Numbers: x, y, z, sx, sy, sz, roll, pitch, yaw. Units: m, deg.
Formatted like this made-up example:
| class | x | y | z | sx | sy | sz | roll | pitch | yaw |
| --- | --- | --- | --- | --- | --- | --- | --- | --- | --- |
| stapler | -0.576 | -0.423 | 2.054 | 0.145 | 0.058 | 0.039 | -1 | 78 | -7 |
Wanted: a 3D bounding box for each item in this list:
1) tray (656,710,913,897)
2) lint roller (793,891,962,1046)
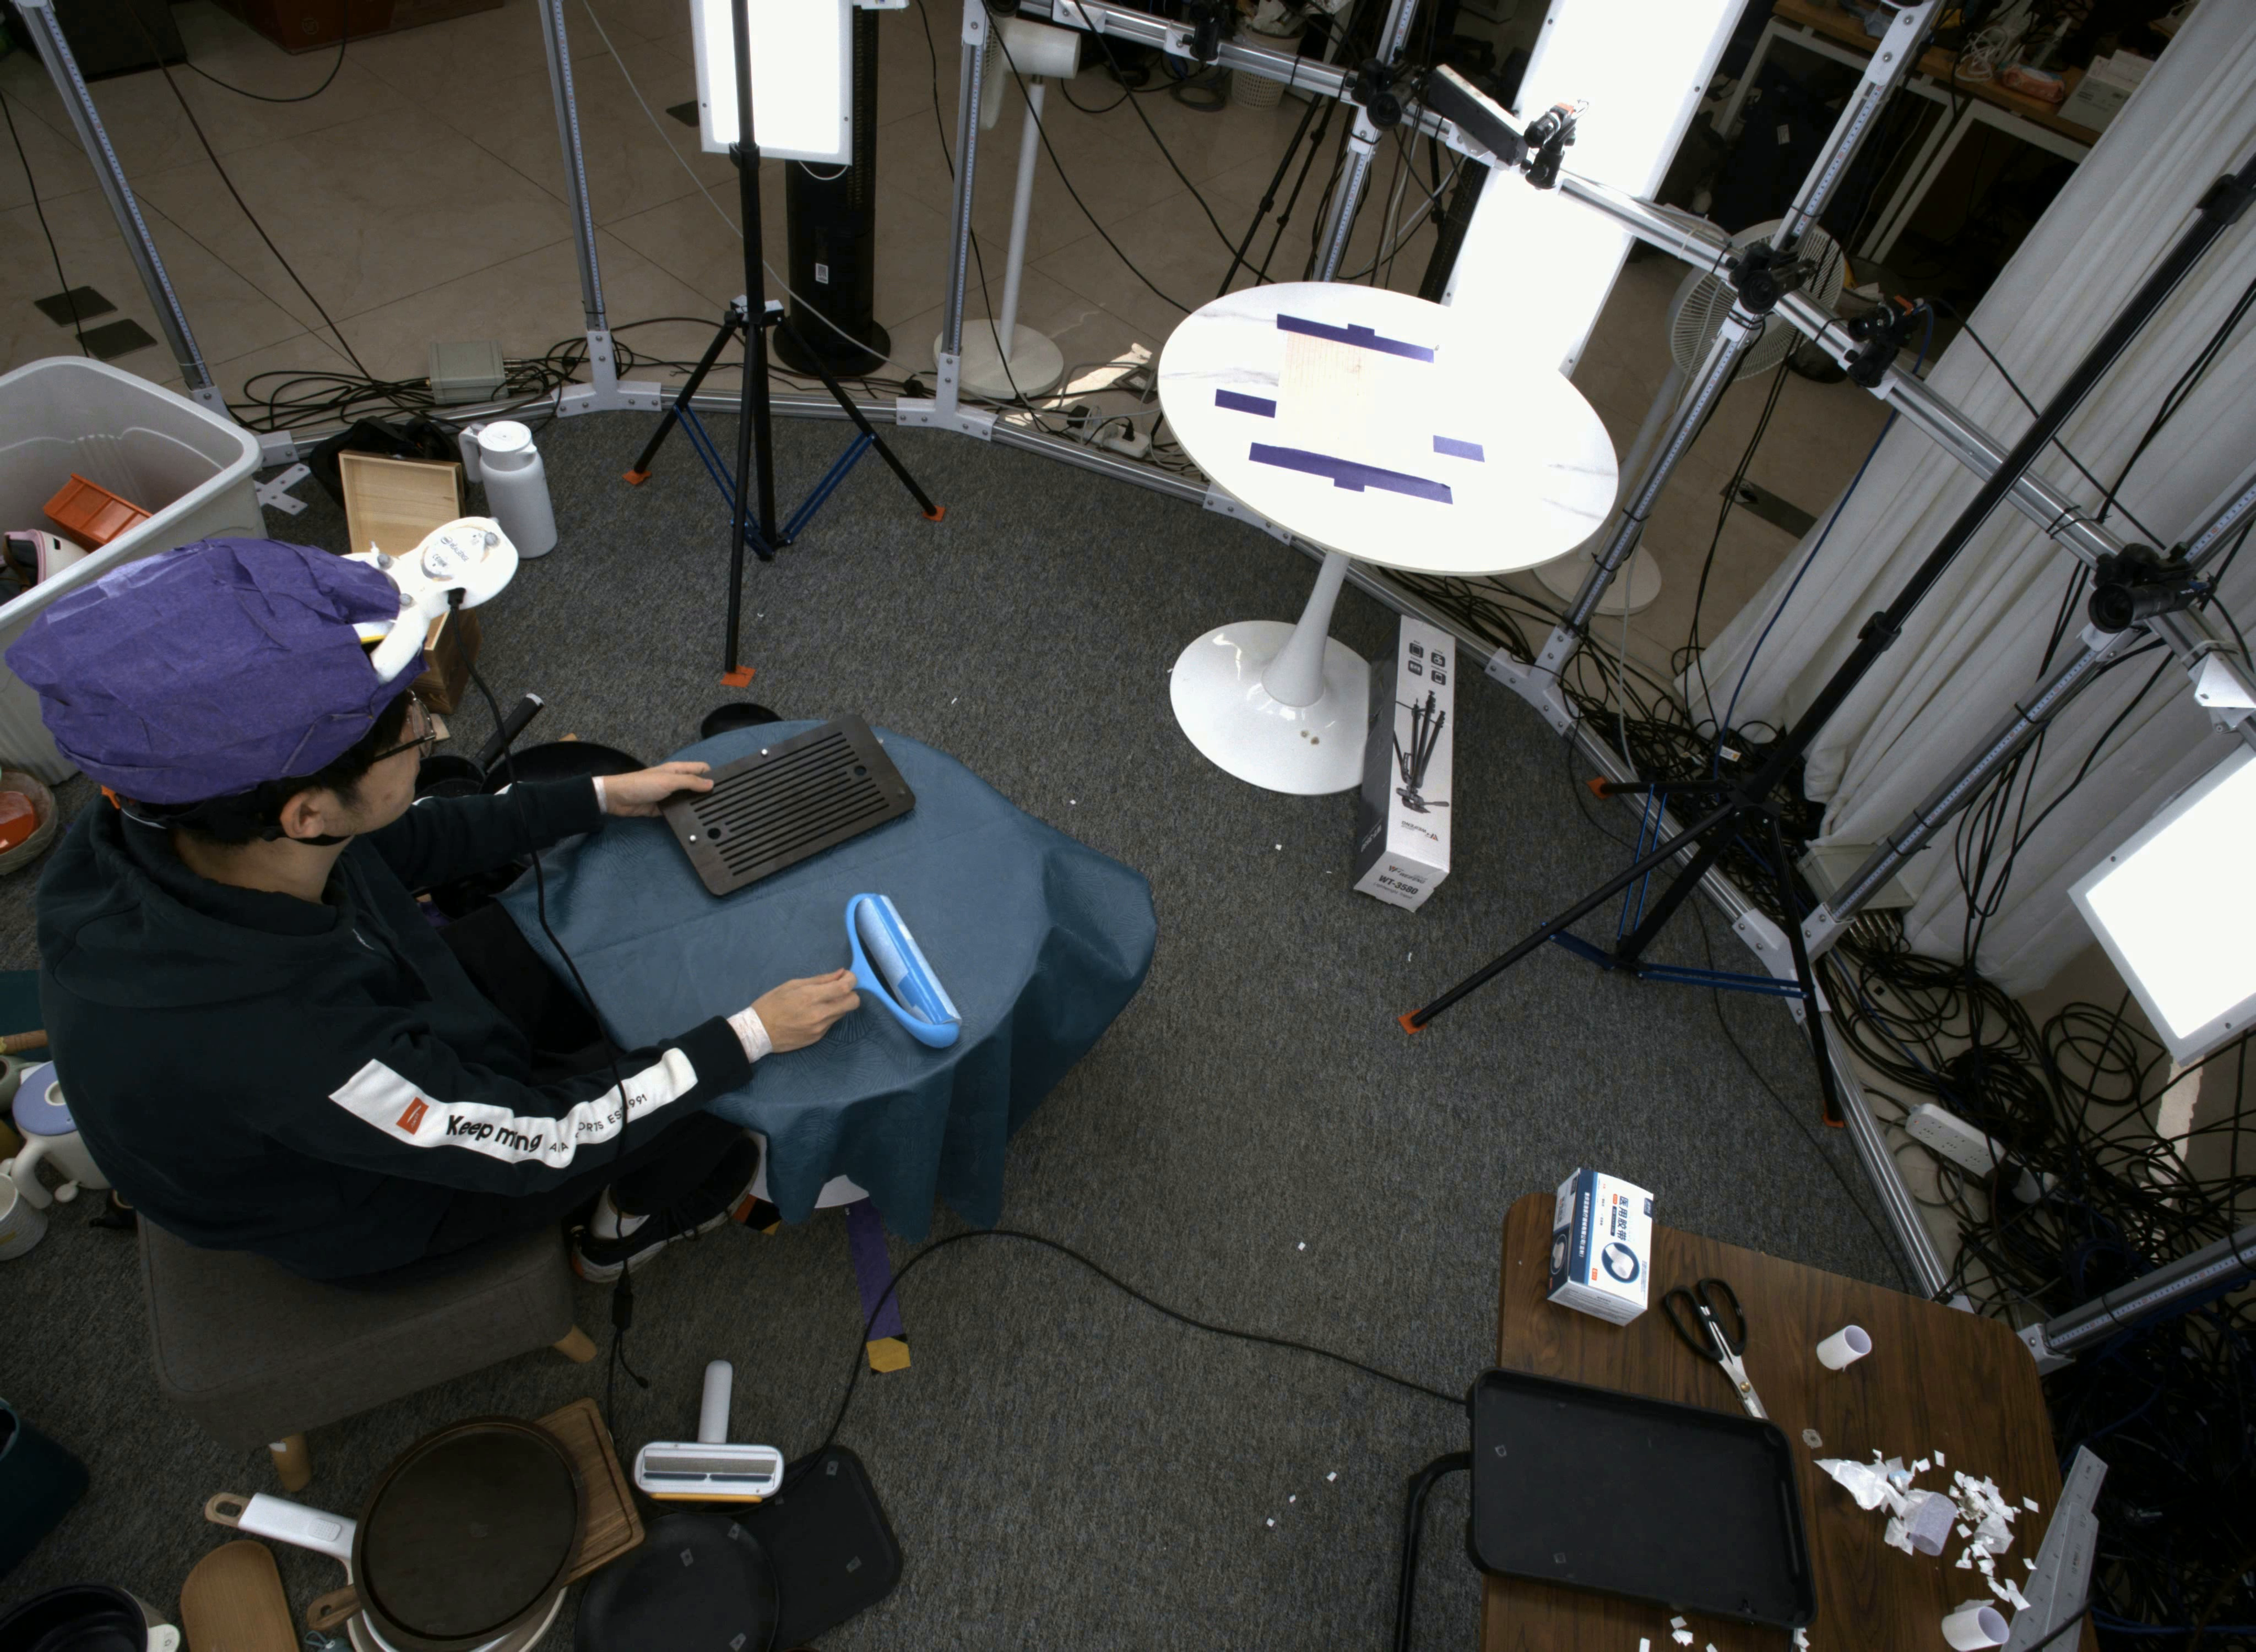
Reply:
| class | x | y | z | sx | sy | sz | roll | pitch | yaw |
| --- | --- | --- | --- | --- | --- | --- | --- | --- | --- |
| tray | -0.452 | -0.035 | 1.719 | 0.307 | 0.019 | 0.168 | -28 | 76 | -30 |
| lint roller | -0.321 | 0.193 | 1.573 | 0.181 | 0.069 | 0.225 | -27 | 70 | -29 |
